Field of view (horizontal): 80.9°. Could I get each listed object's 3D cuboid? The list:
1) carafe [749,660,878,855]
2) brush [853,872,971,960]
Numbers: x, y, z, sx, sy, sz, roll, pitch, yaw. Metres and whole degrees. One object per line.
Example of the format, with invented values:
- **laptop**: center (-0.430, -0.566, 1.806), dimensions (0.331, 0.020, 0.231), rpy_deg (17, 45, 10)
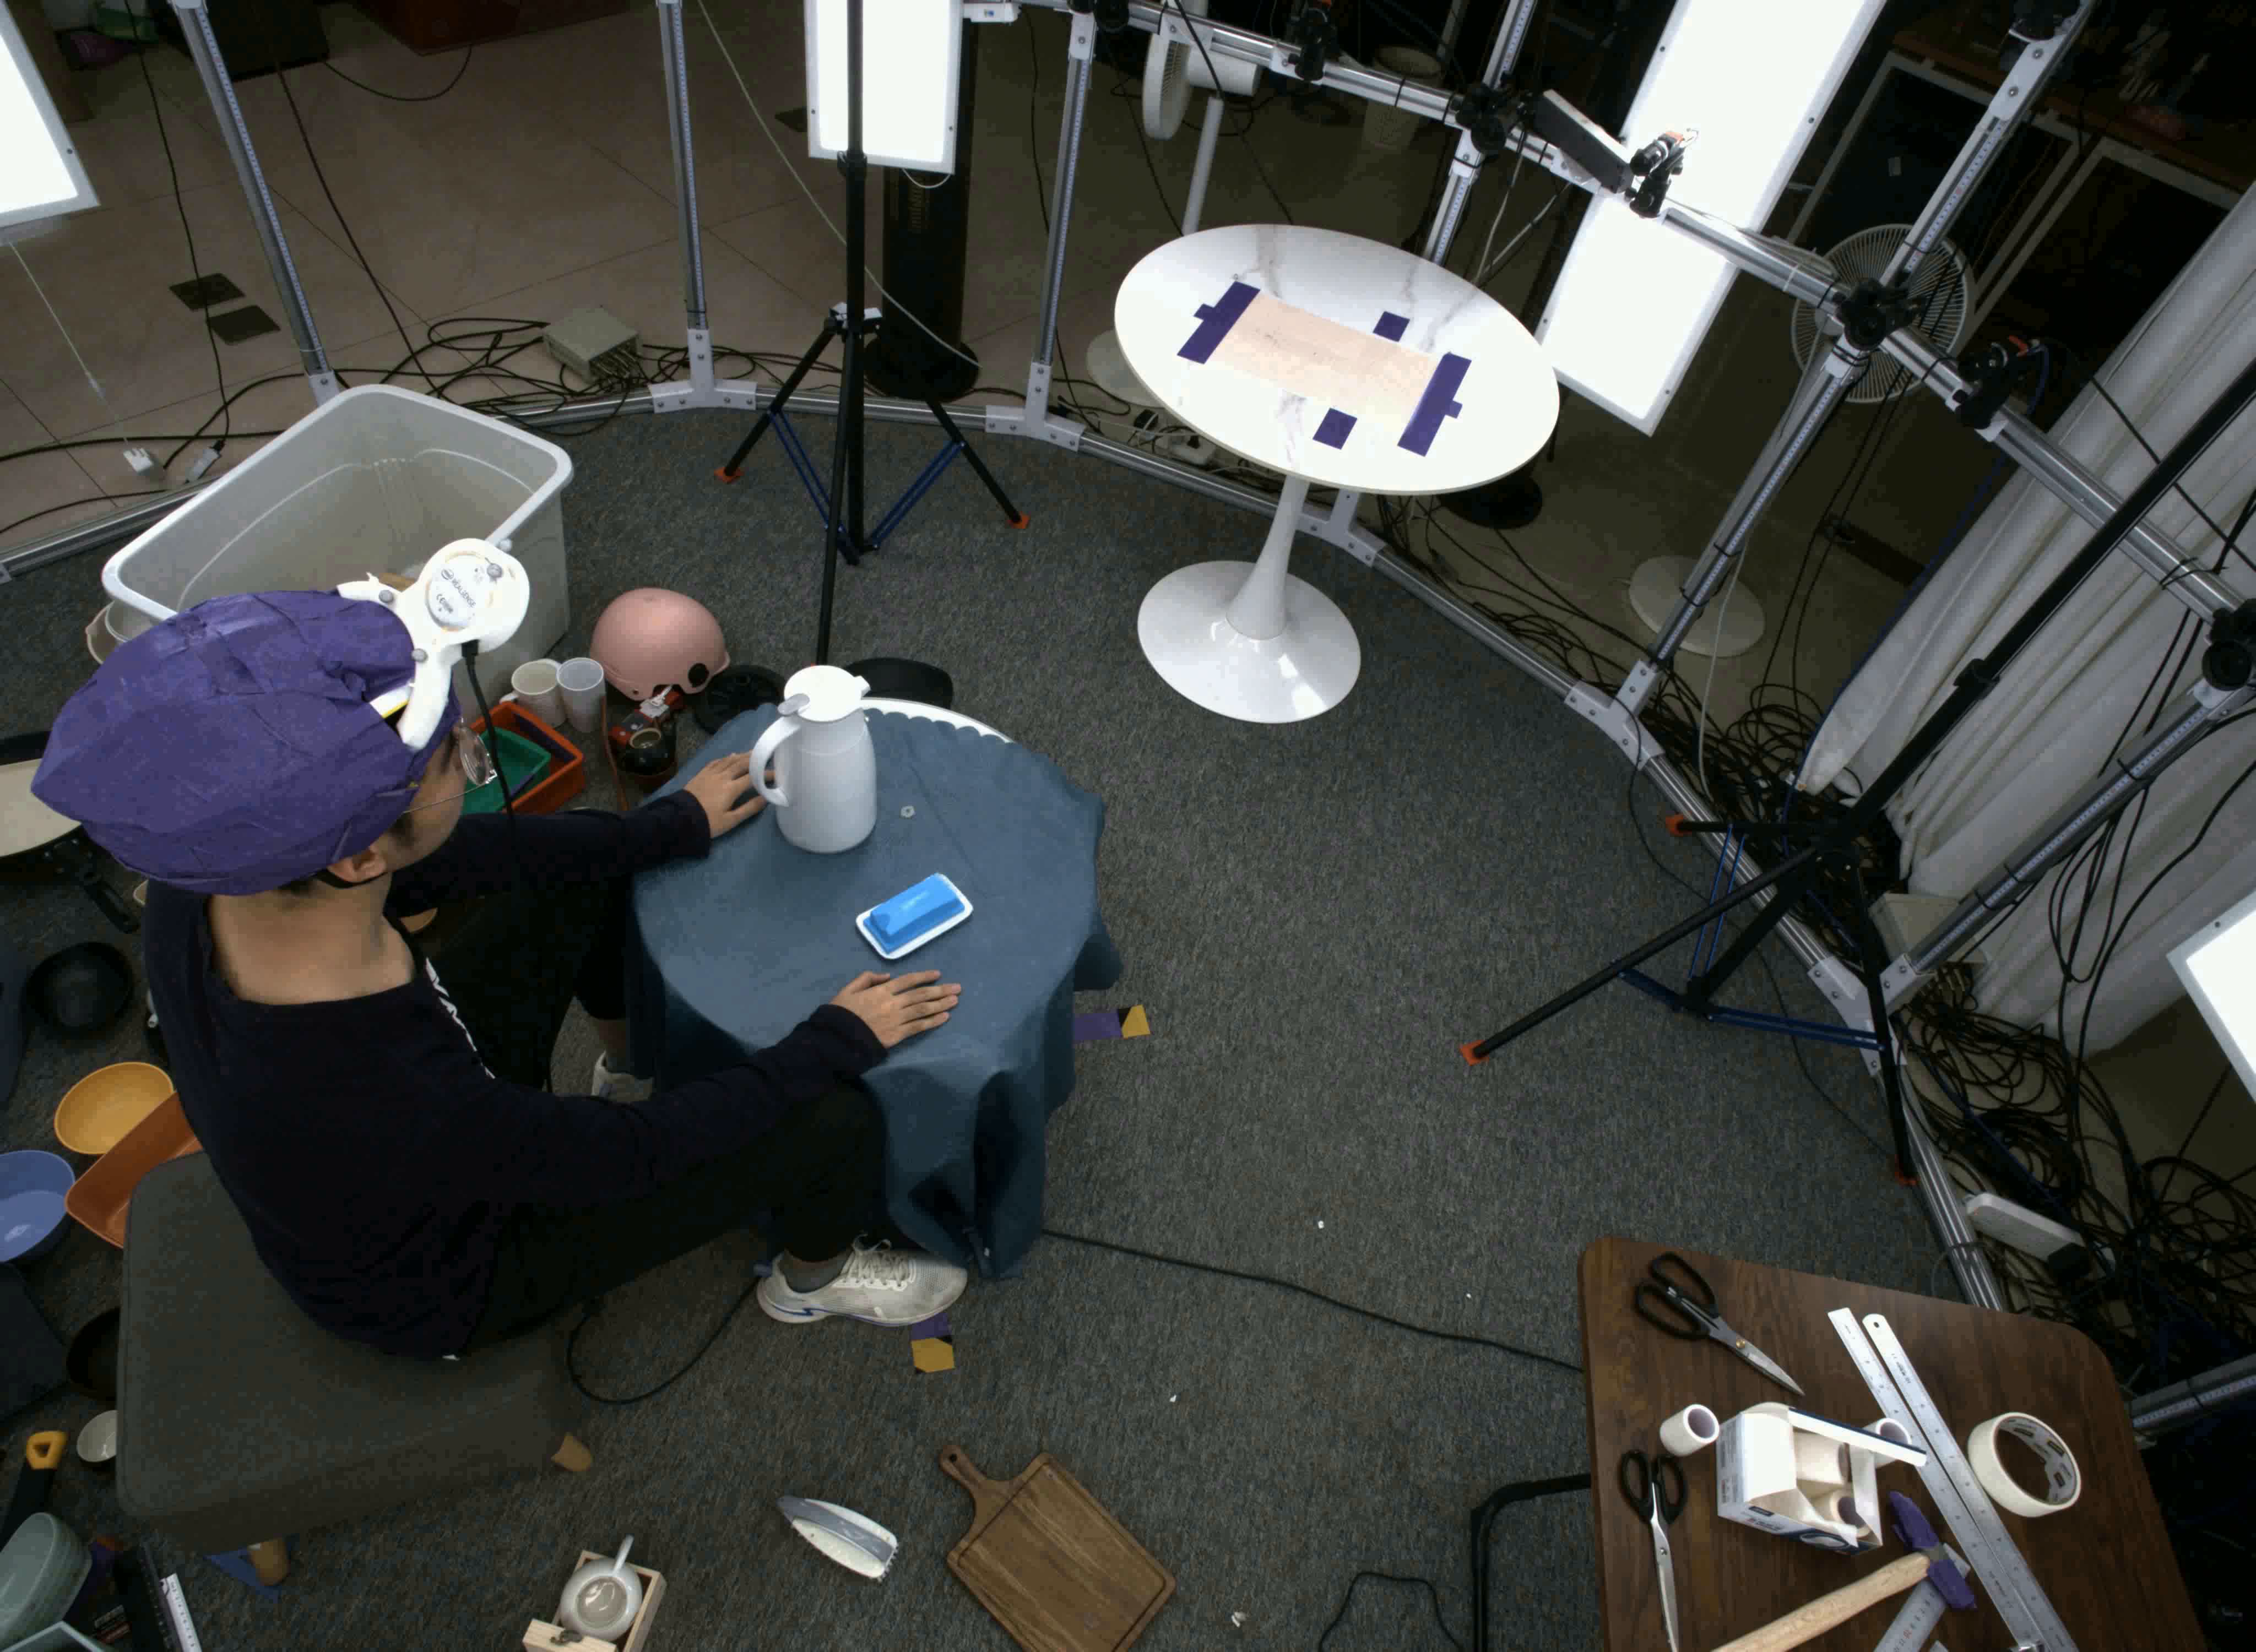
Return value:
- **carafe**: center (-0.399, -0.082, 1.633), dimensions (0.129, 0.254, 0.168), rpy_deg (42, 57, 21)
- **brush**: center (-0.273, 0.105, 1.646), dimensions (0.144, 0.057, 0.081), rpy_deg (-27, 60, -32)
